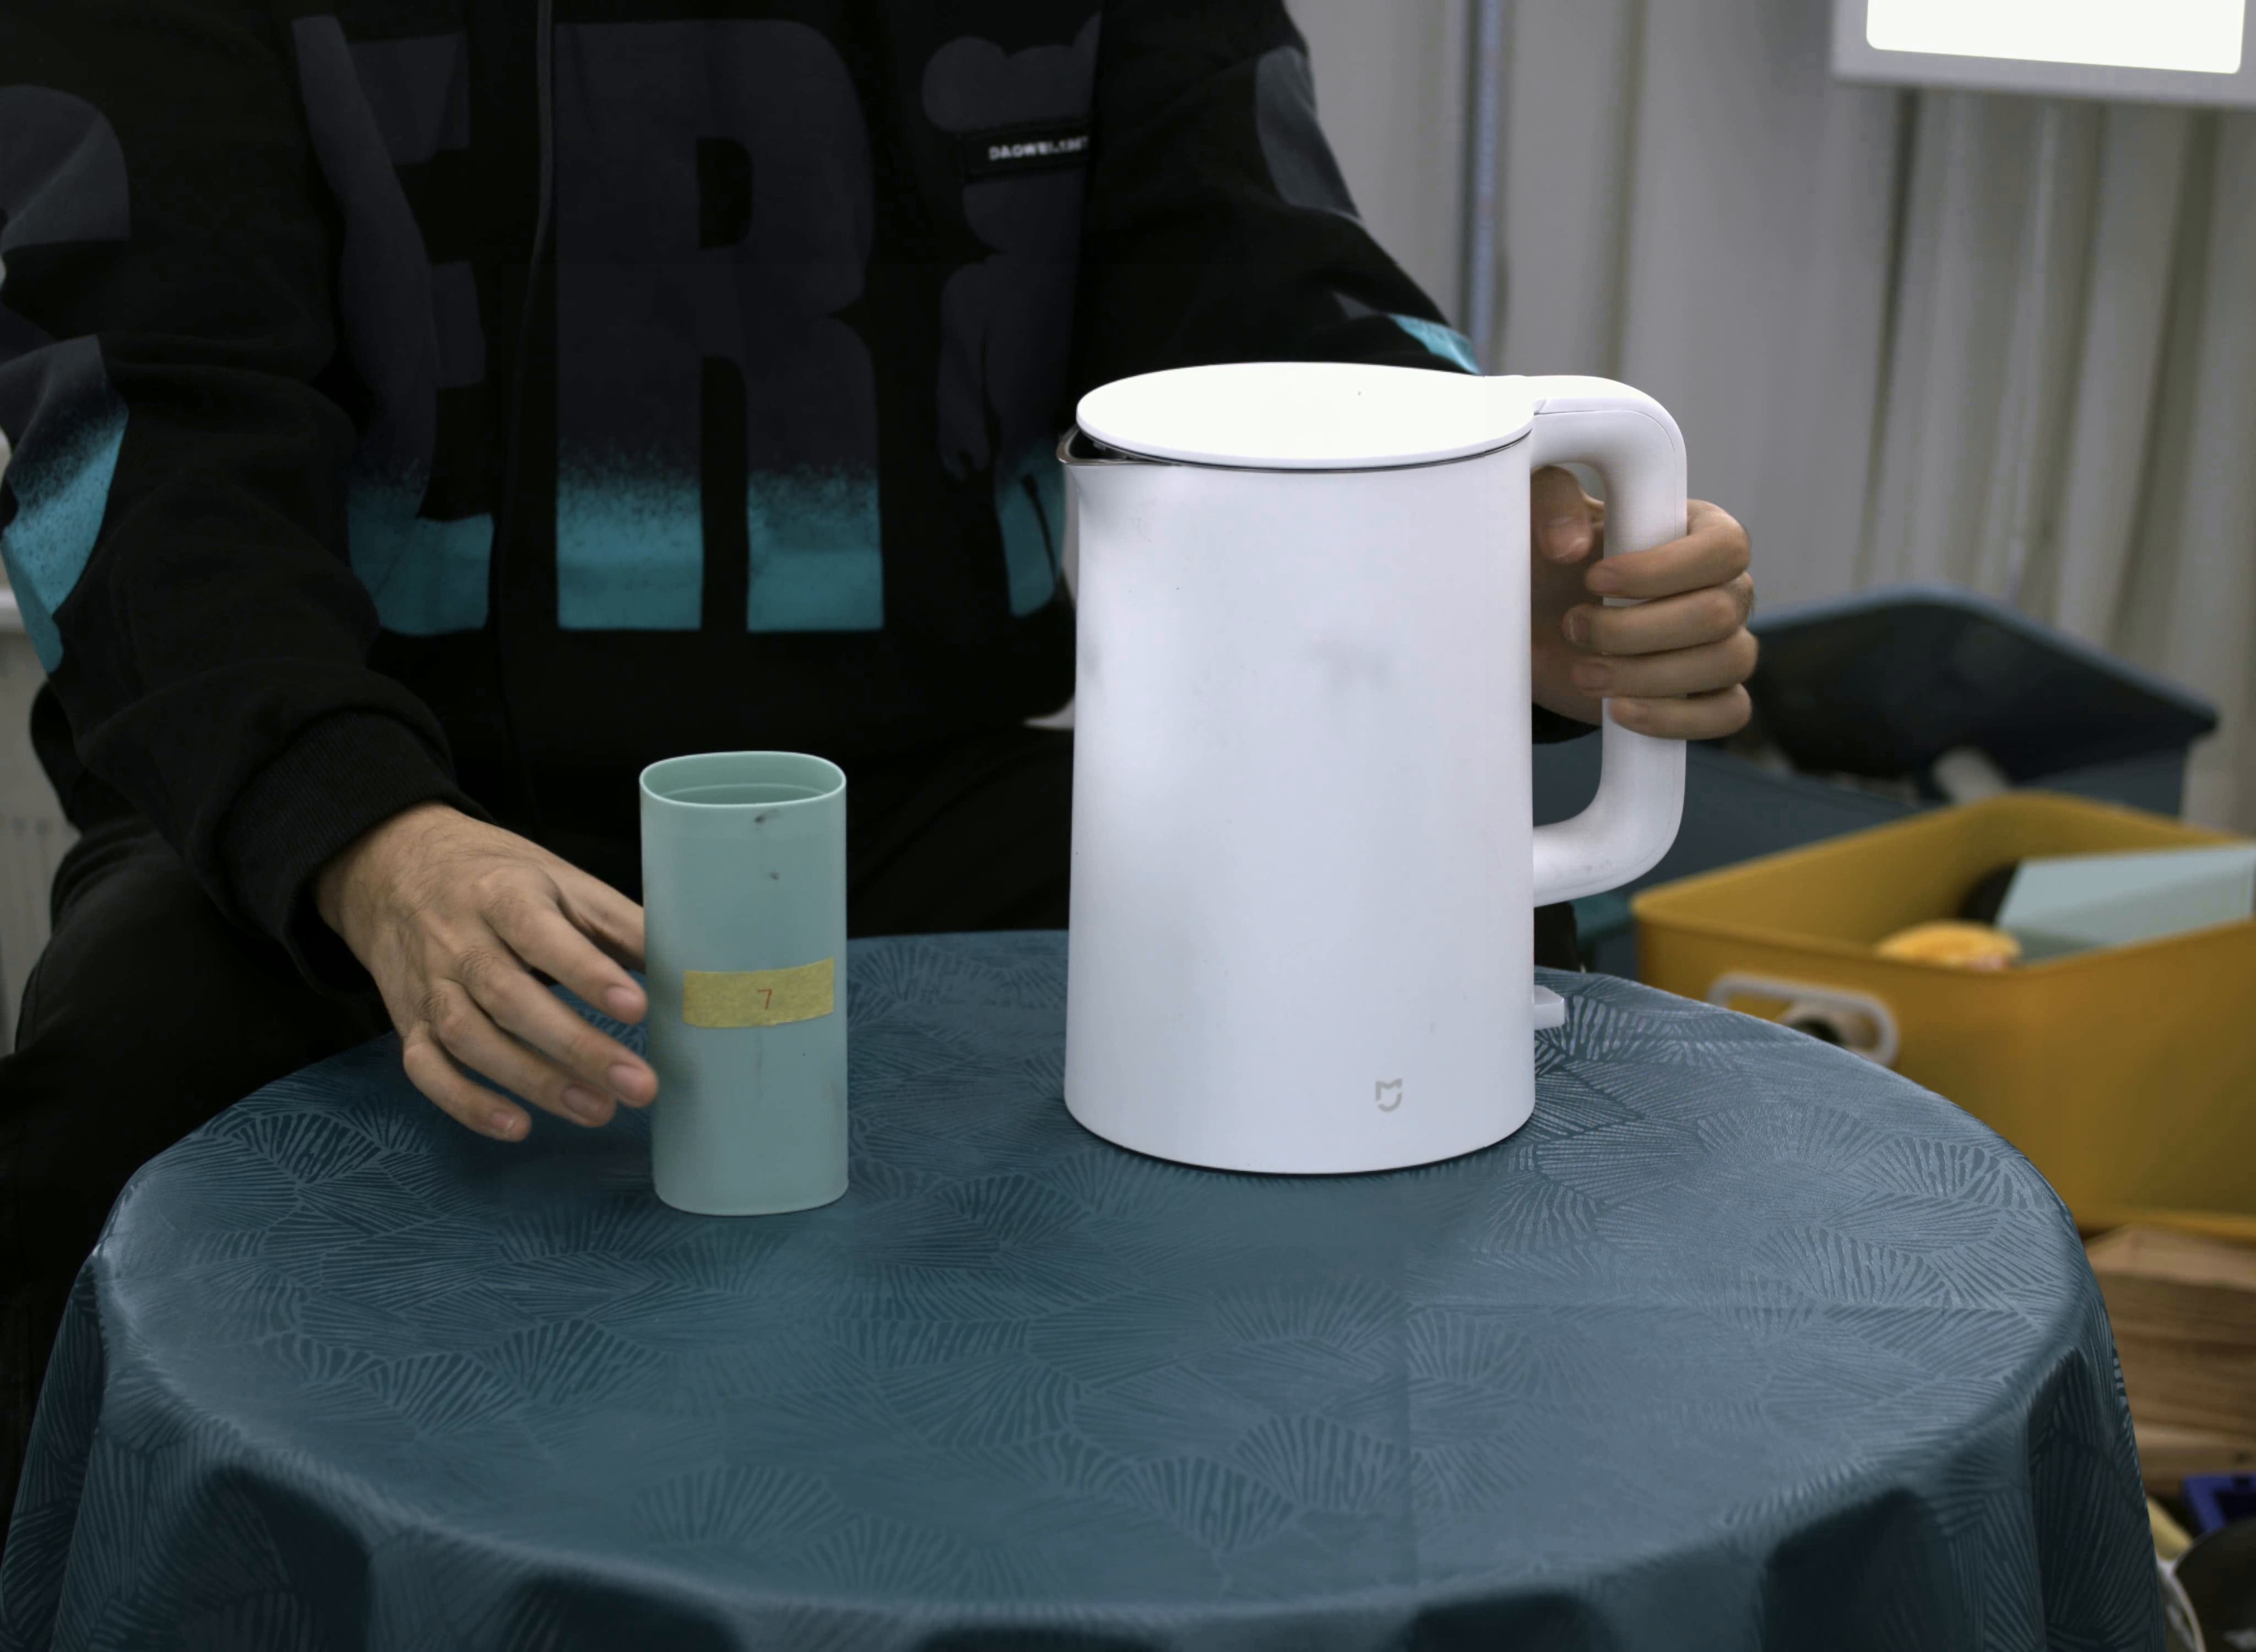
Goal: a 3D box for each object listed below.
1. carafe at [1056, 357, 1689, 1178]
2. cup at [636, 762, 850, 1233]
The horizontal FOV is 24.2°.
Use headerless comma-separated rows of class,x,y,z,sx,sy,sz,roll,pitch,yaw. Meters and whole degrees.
carafe,0.079,-0.024,1.678,0.214,0.242,0.150,-7,19,-22
cup,-0.117,0.051,1.605,0.066,0.133,0.066,0,18,1
